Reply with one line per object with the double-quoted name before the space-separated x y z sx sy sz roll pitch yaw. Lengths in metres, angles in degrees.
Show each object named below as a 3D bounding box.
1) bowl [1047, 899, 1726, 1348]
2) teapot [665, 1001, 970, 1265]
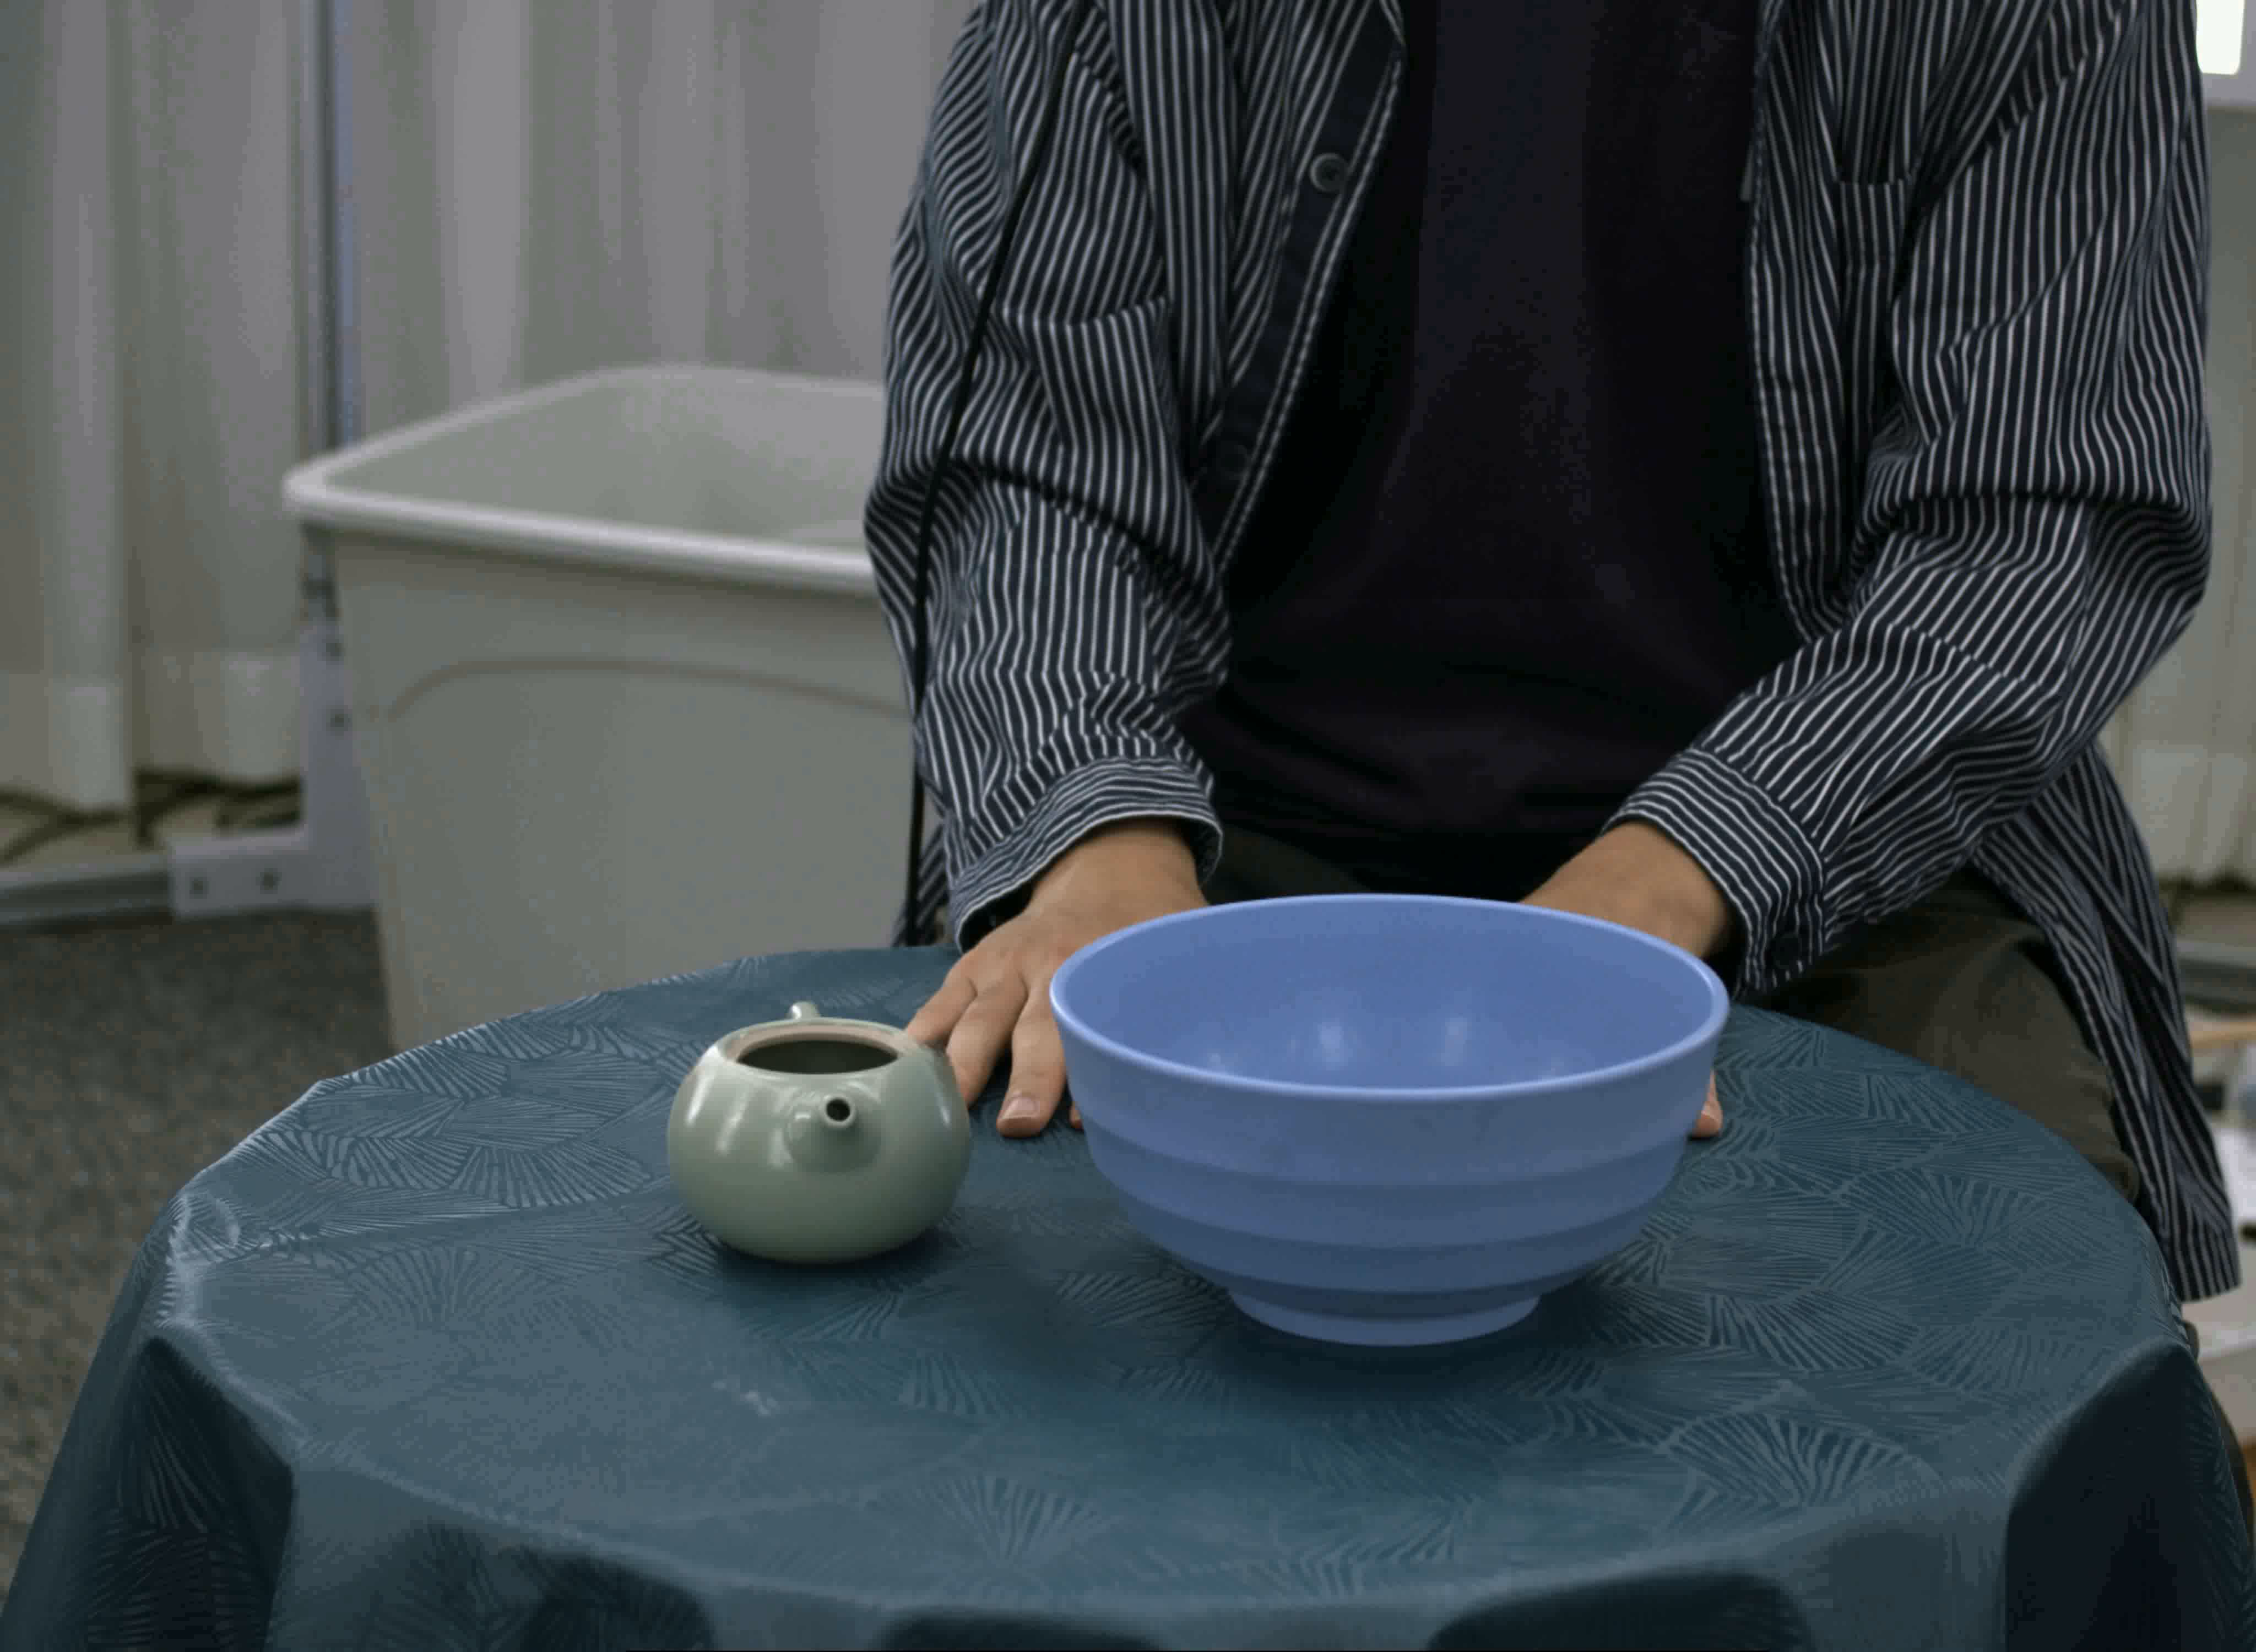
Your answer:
"bowl" 0.075 0.092 1.532 0.196 0.096 0.195 0 15 1
"teapot" -0.094 0.092 1.589 0.091 0.061 0.127 -3 15 -4
